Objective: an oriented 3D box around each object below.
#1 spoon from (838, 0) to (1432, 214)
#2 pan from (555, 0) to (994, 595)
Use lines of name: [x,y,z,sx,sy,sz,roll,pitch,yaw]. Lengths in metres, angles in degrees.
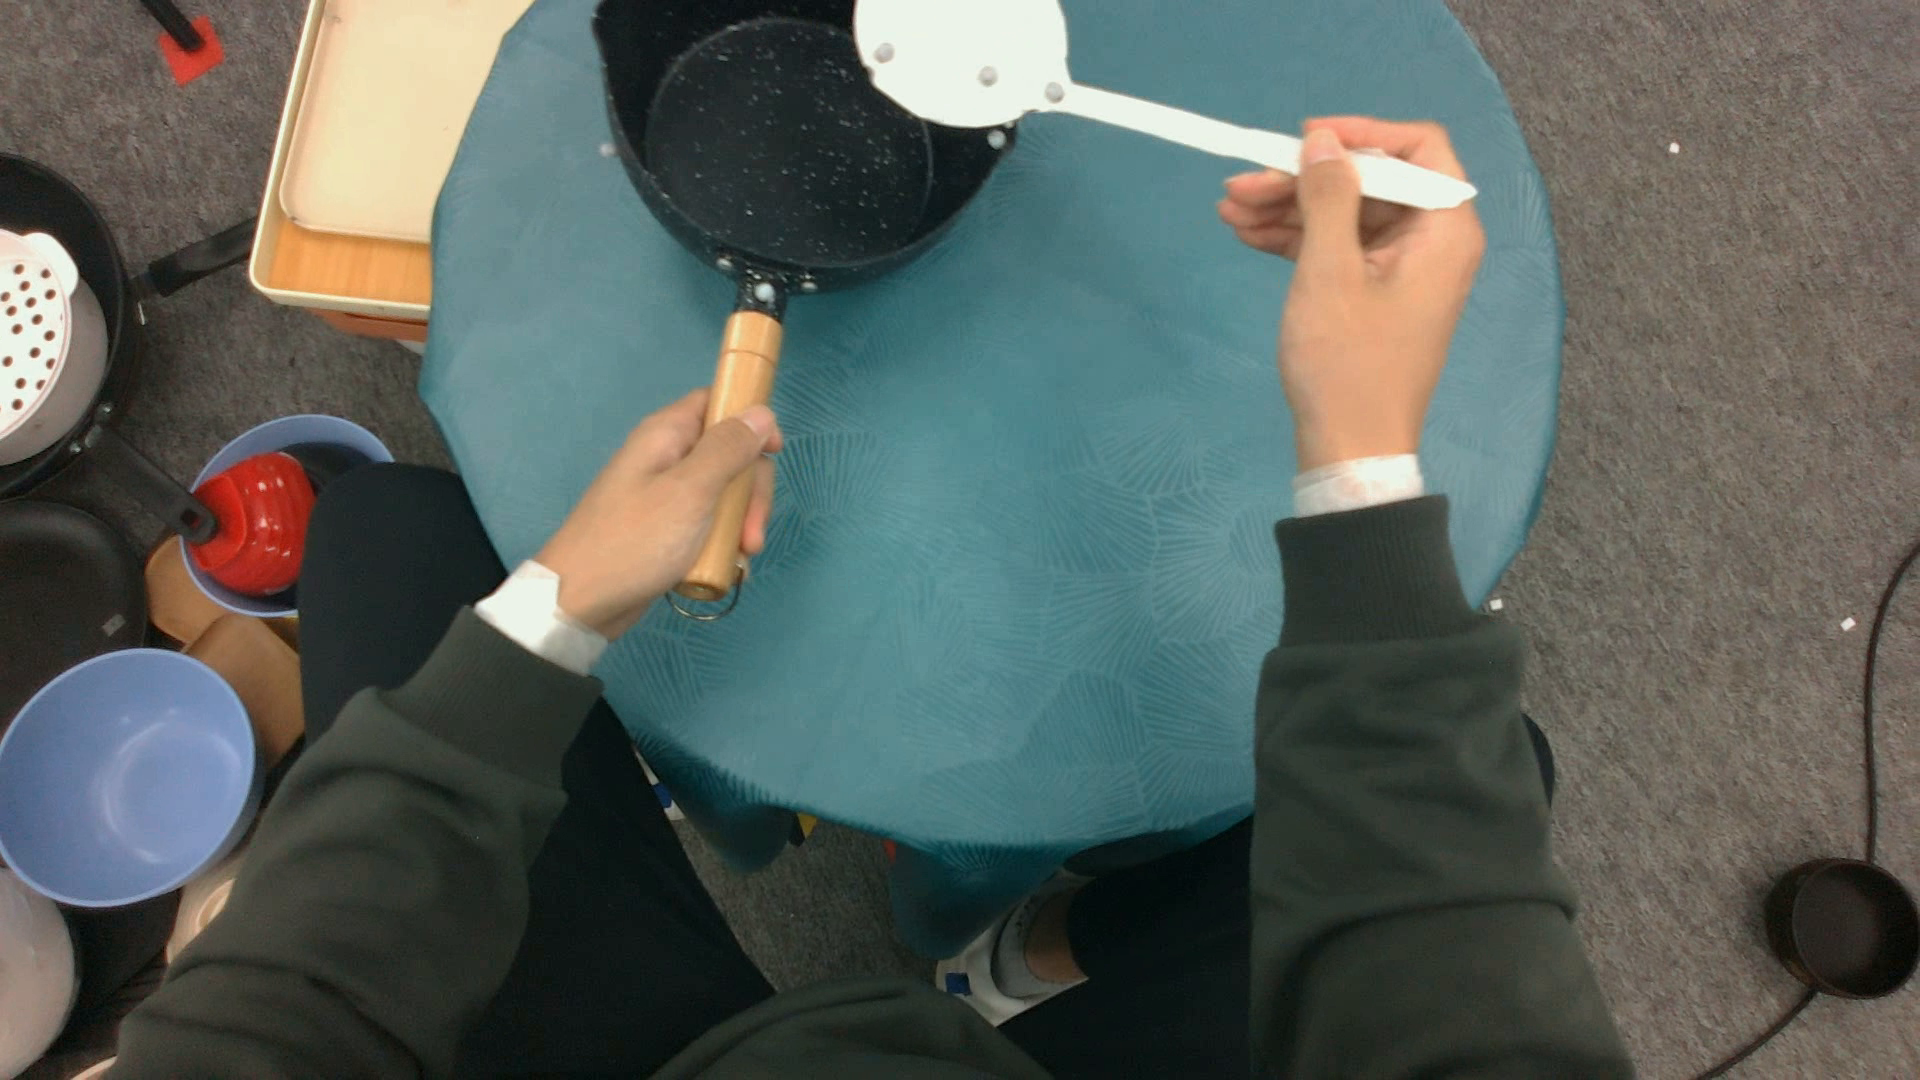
spoon: [0.060,-0.187,0.554,0.277,0.059,0.101,30,75,37]
pan: [-0.098,-0.134,0.646,0.207,0.108,0.343,10,76,-13]
